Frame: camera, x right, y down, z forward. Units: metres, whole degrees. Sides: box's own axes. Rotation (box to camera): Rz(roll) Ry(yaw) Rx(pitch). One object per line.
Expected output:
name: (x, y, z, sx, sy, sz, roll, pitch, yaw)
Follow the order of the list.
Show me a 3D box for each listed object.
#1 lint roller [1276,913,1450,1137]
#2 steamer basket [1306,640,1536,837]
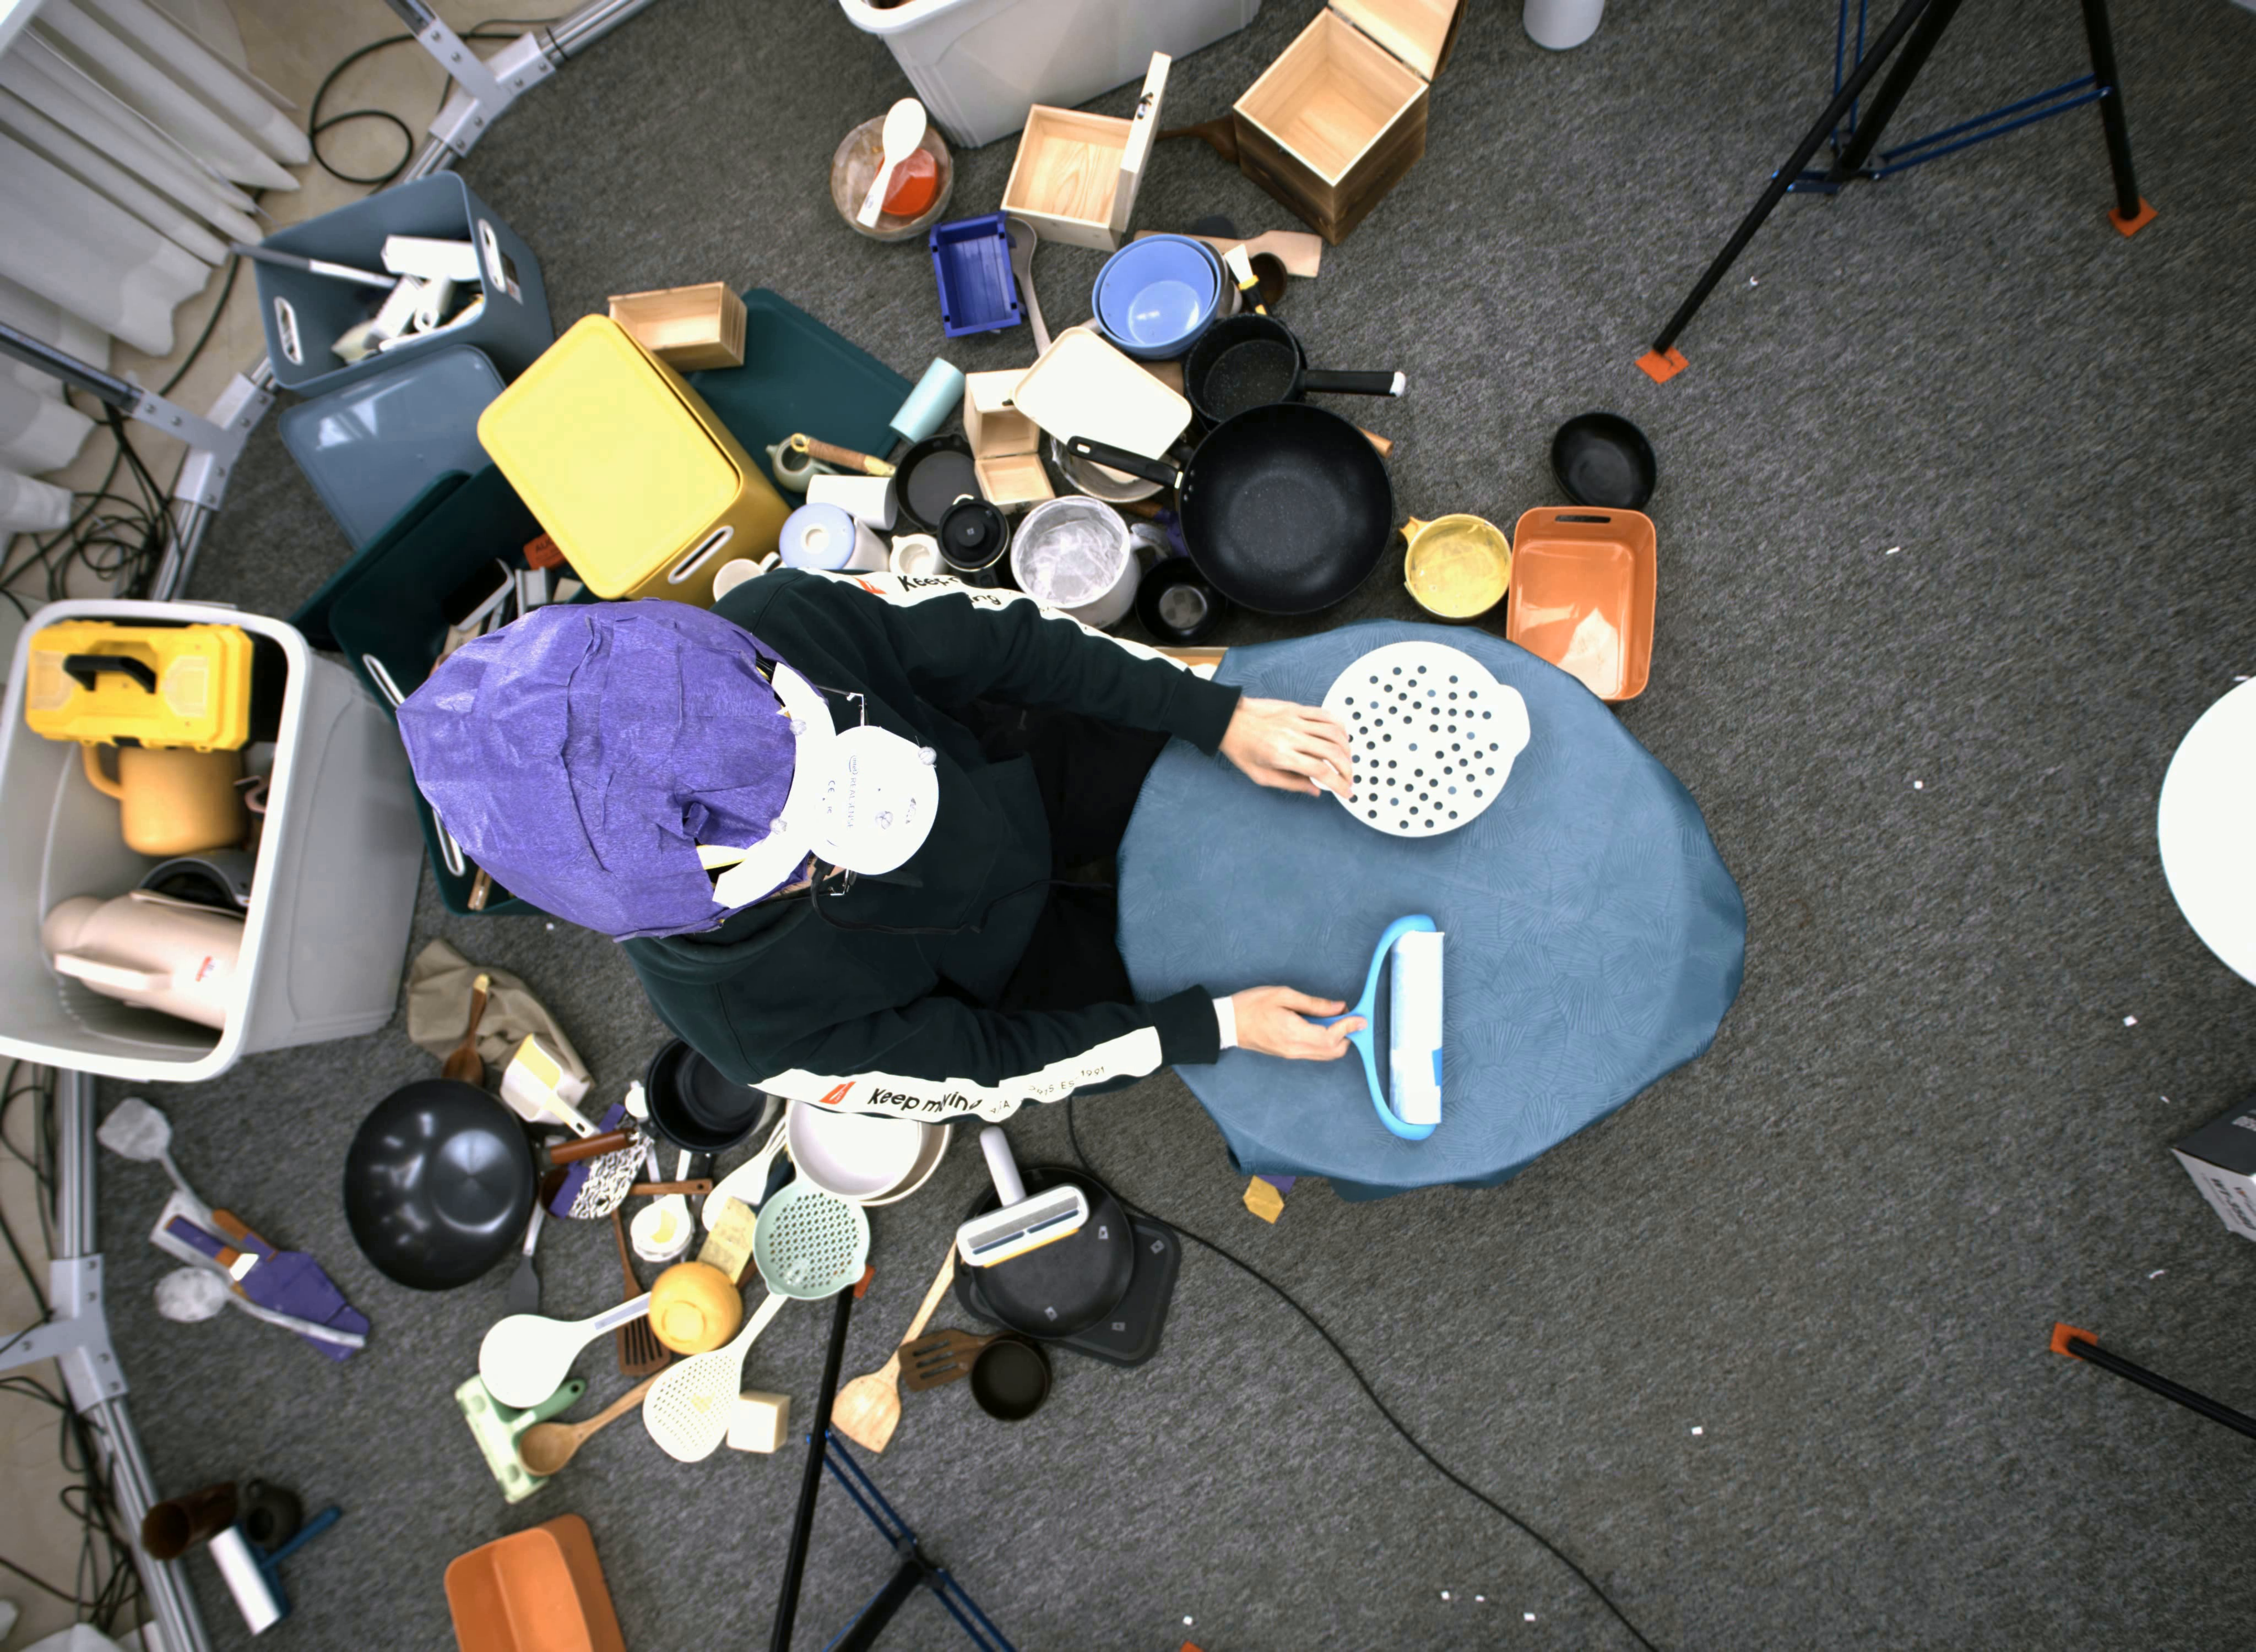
lint roller: (0.241, 0.206, 1.426, 0.181, 0.068, 0.228, -4, 89, 9)
steamer basket: (0.302, -0.090, 1.423, 0.232, 0.069, 0.200, -11, 84, 10)
